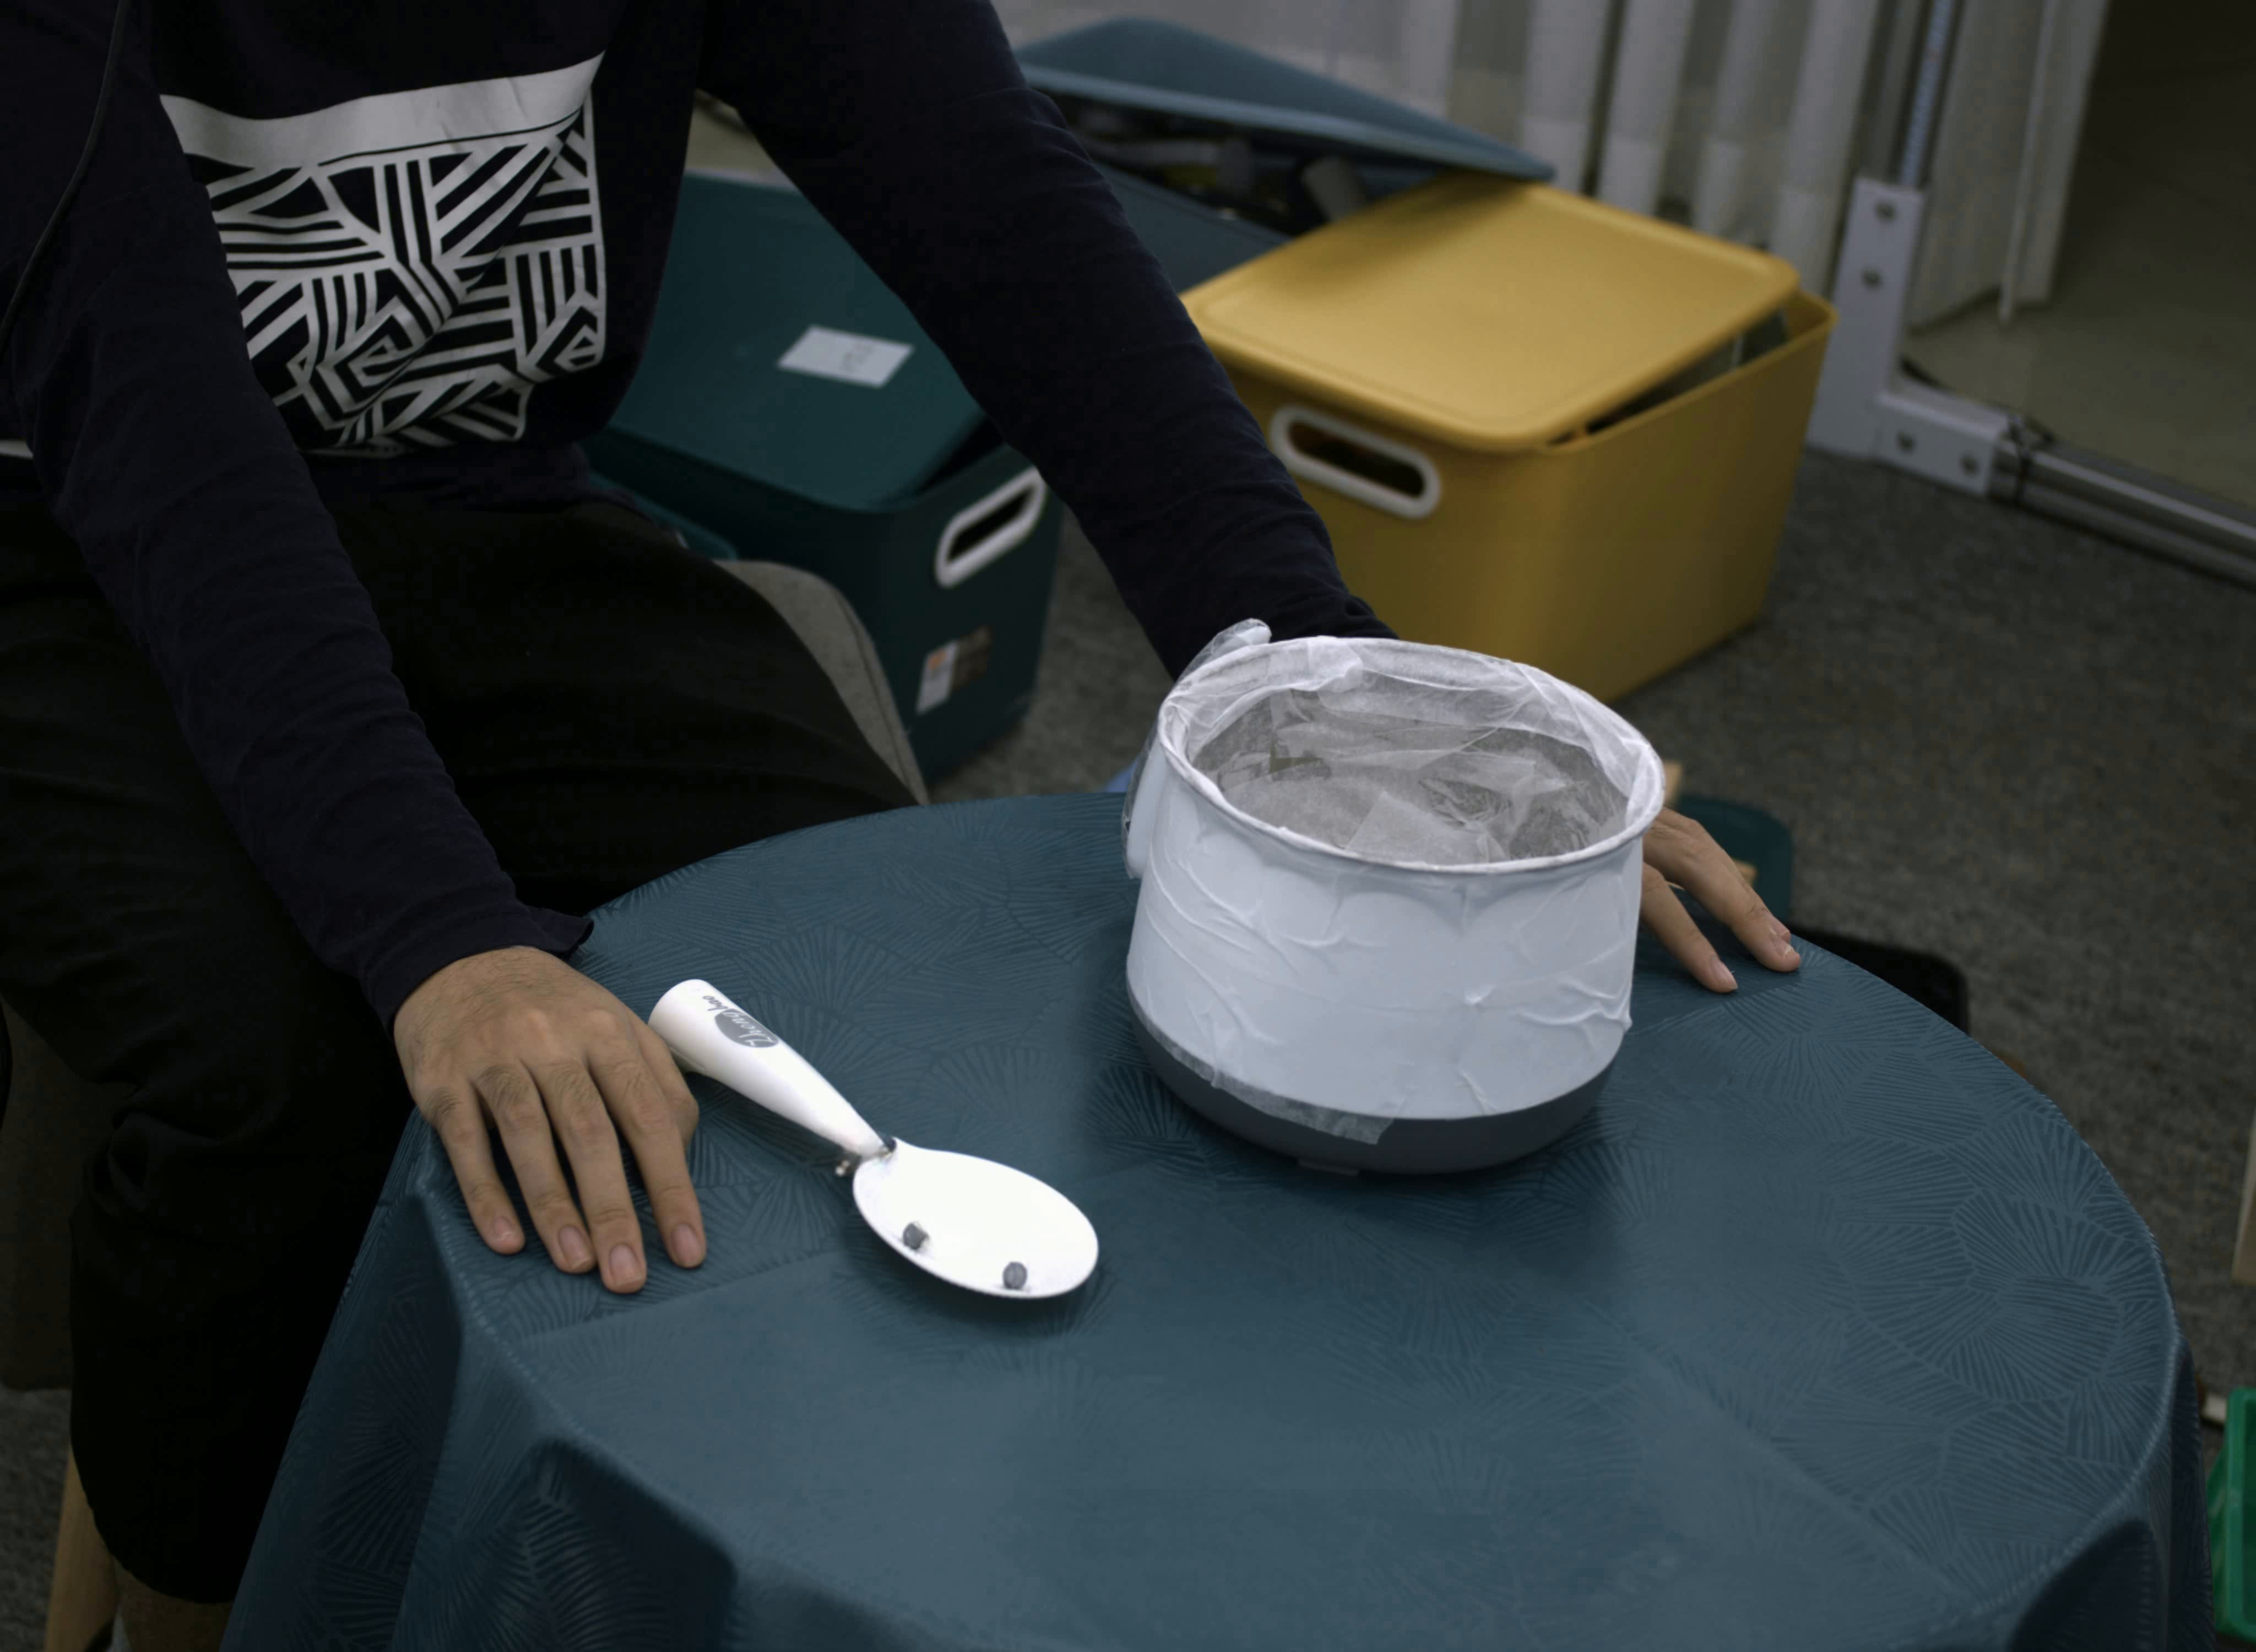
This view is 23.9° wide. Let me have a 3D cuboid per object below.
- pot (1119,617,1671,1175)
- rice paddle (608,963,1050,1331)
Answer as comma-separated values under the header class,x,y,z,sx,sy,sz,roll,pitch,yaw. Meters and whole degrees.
class,x,y,z,sx,sy,sz,roll,pitch,yaw
pot,0.075,0.018,1.881,0.177,0.136,0.236,-10,31,-34
rice paddle,-0.101,0.110,1.790,0.068,0.029,0.207,-12,38,-43
